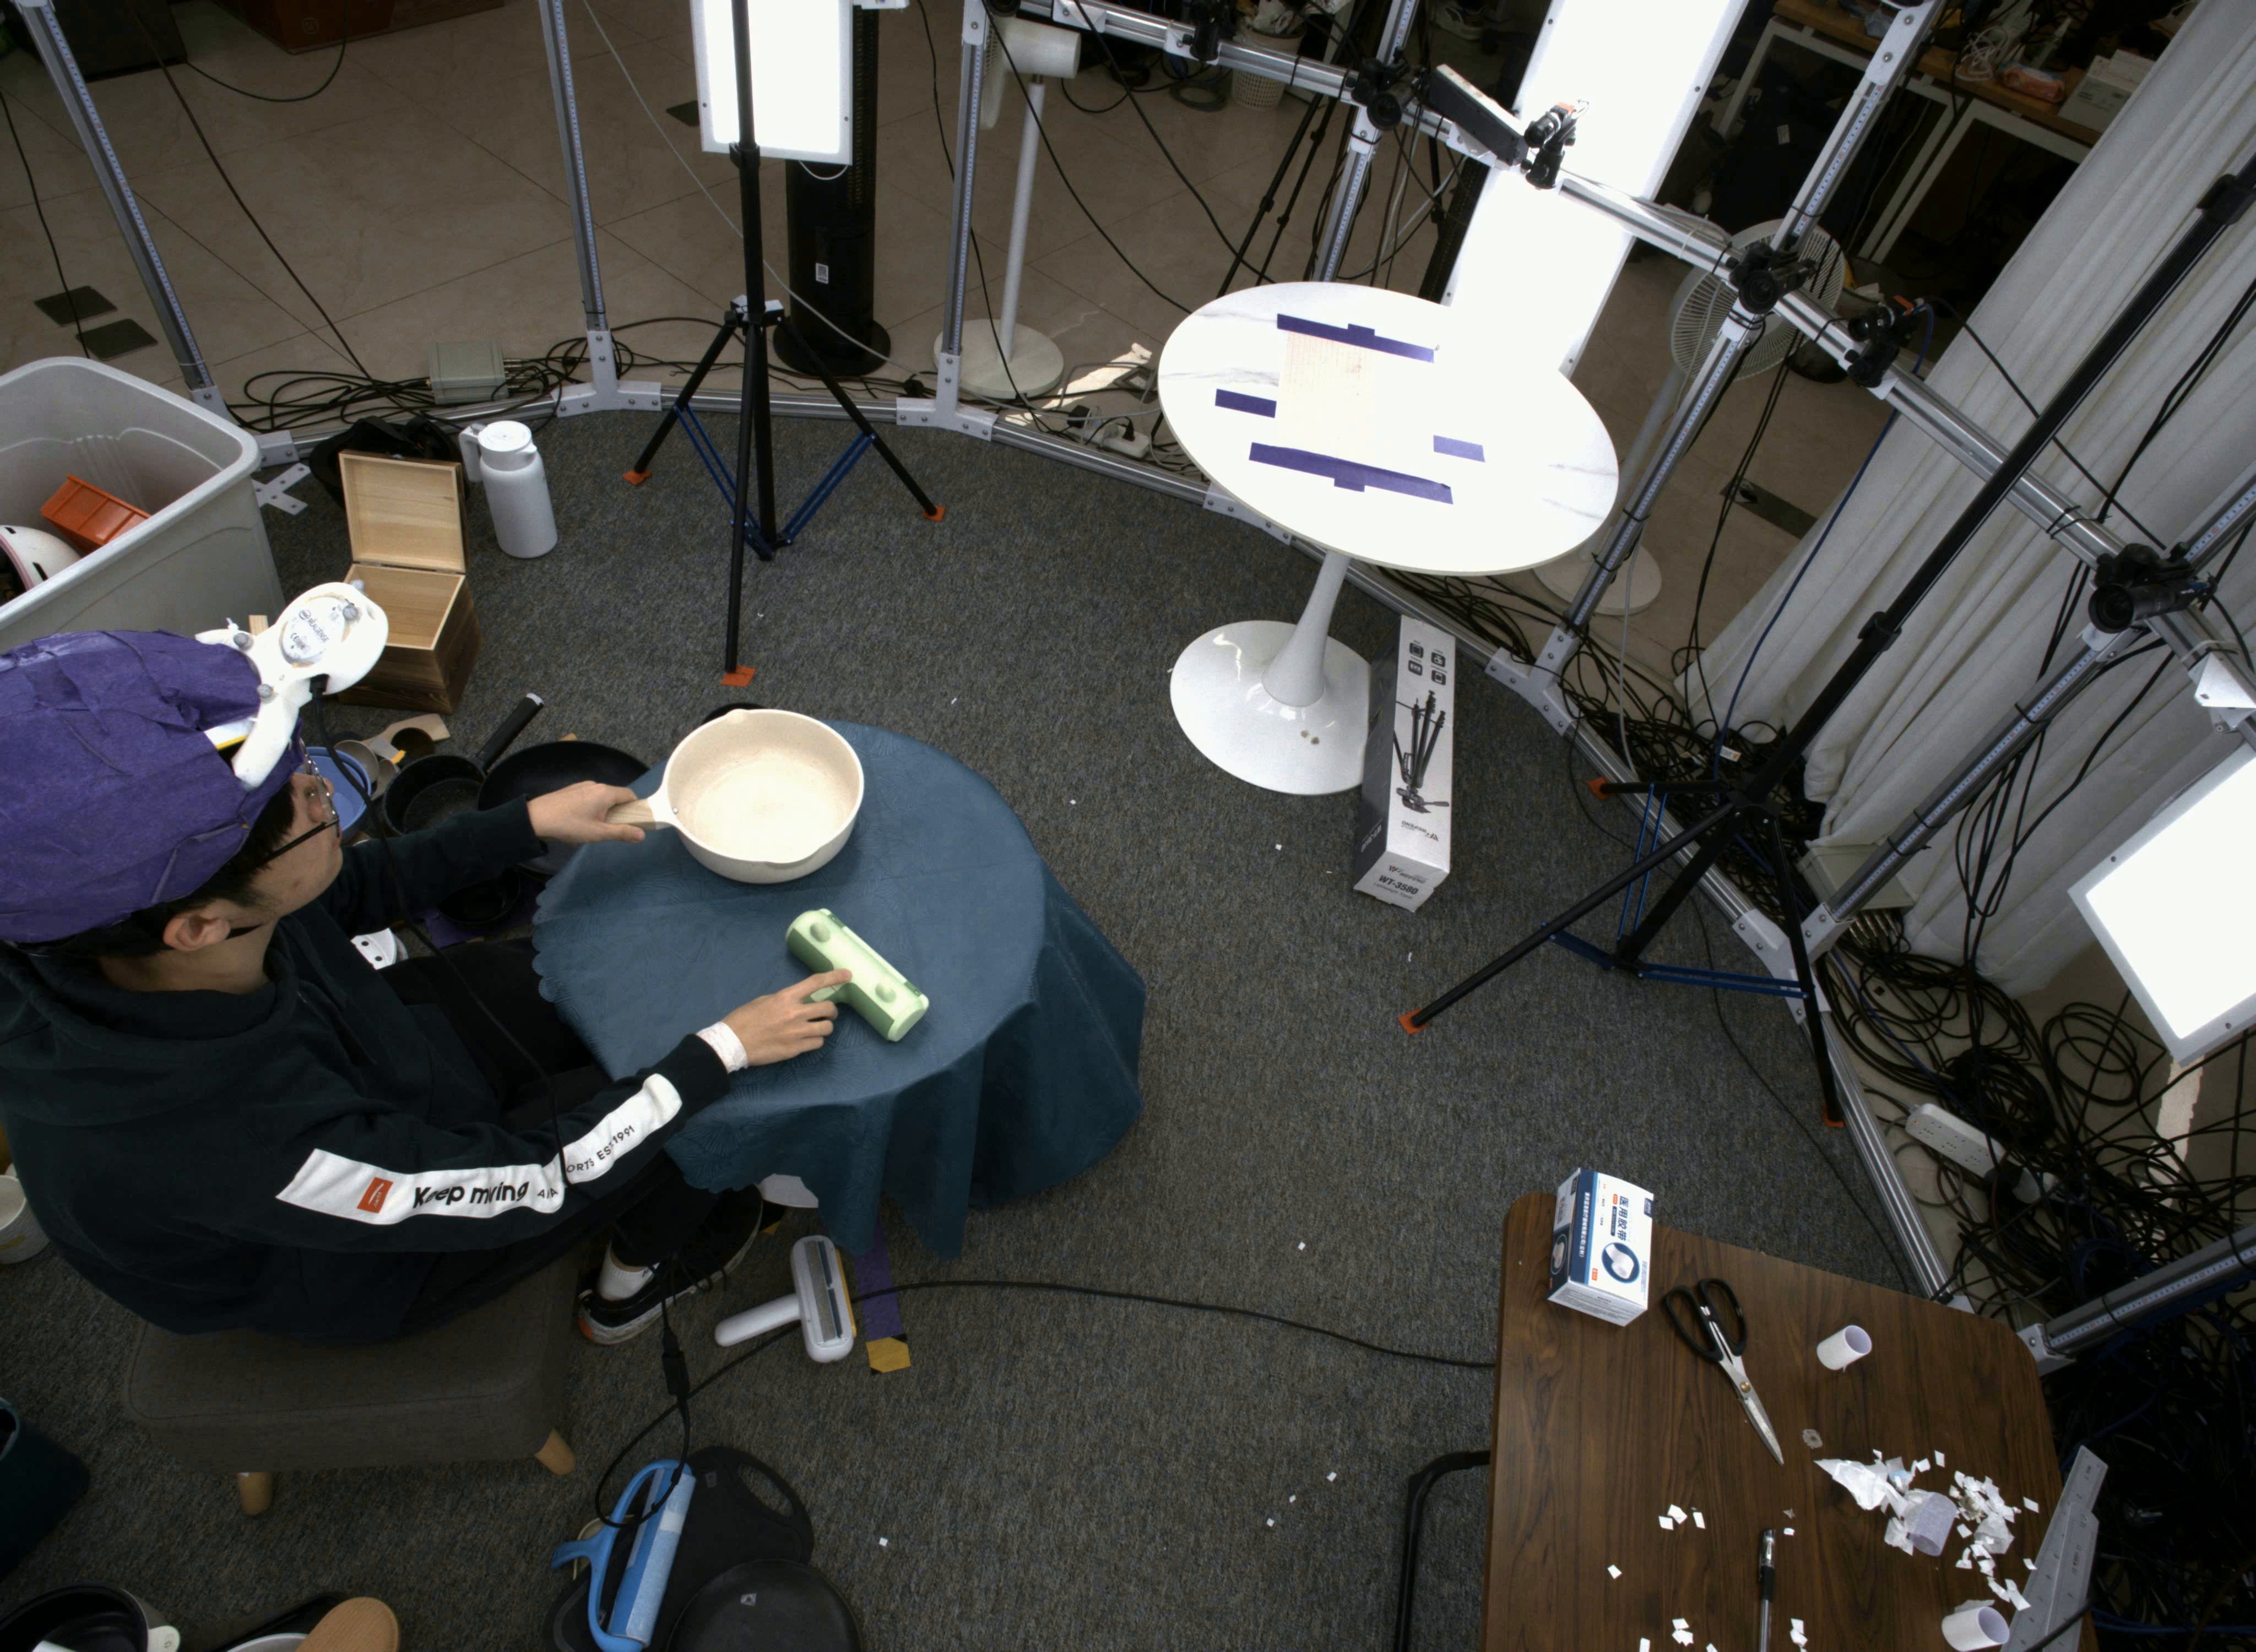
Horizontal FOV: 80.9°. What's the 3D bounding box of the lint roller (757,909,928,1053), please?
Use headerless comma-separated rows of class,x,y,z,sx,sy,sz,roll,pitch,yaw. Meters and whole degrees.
lint roller,-0.366,0.196,1.545,0.194,0.083,0.184,39,44,15

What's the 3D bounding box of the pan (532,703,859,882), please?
pan,-0.556,-0.018,1.644,0.437,0.104,0.257,-17,62,-24
